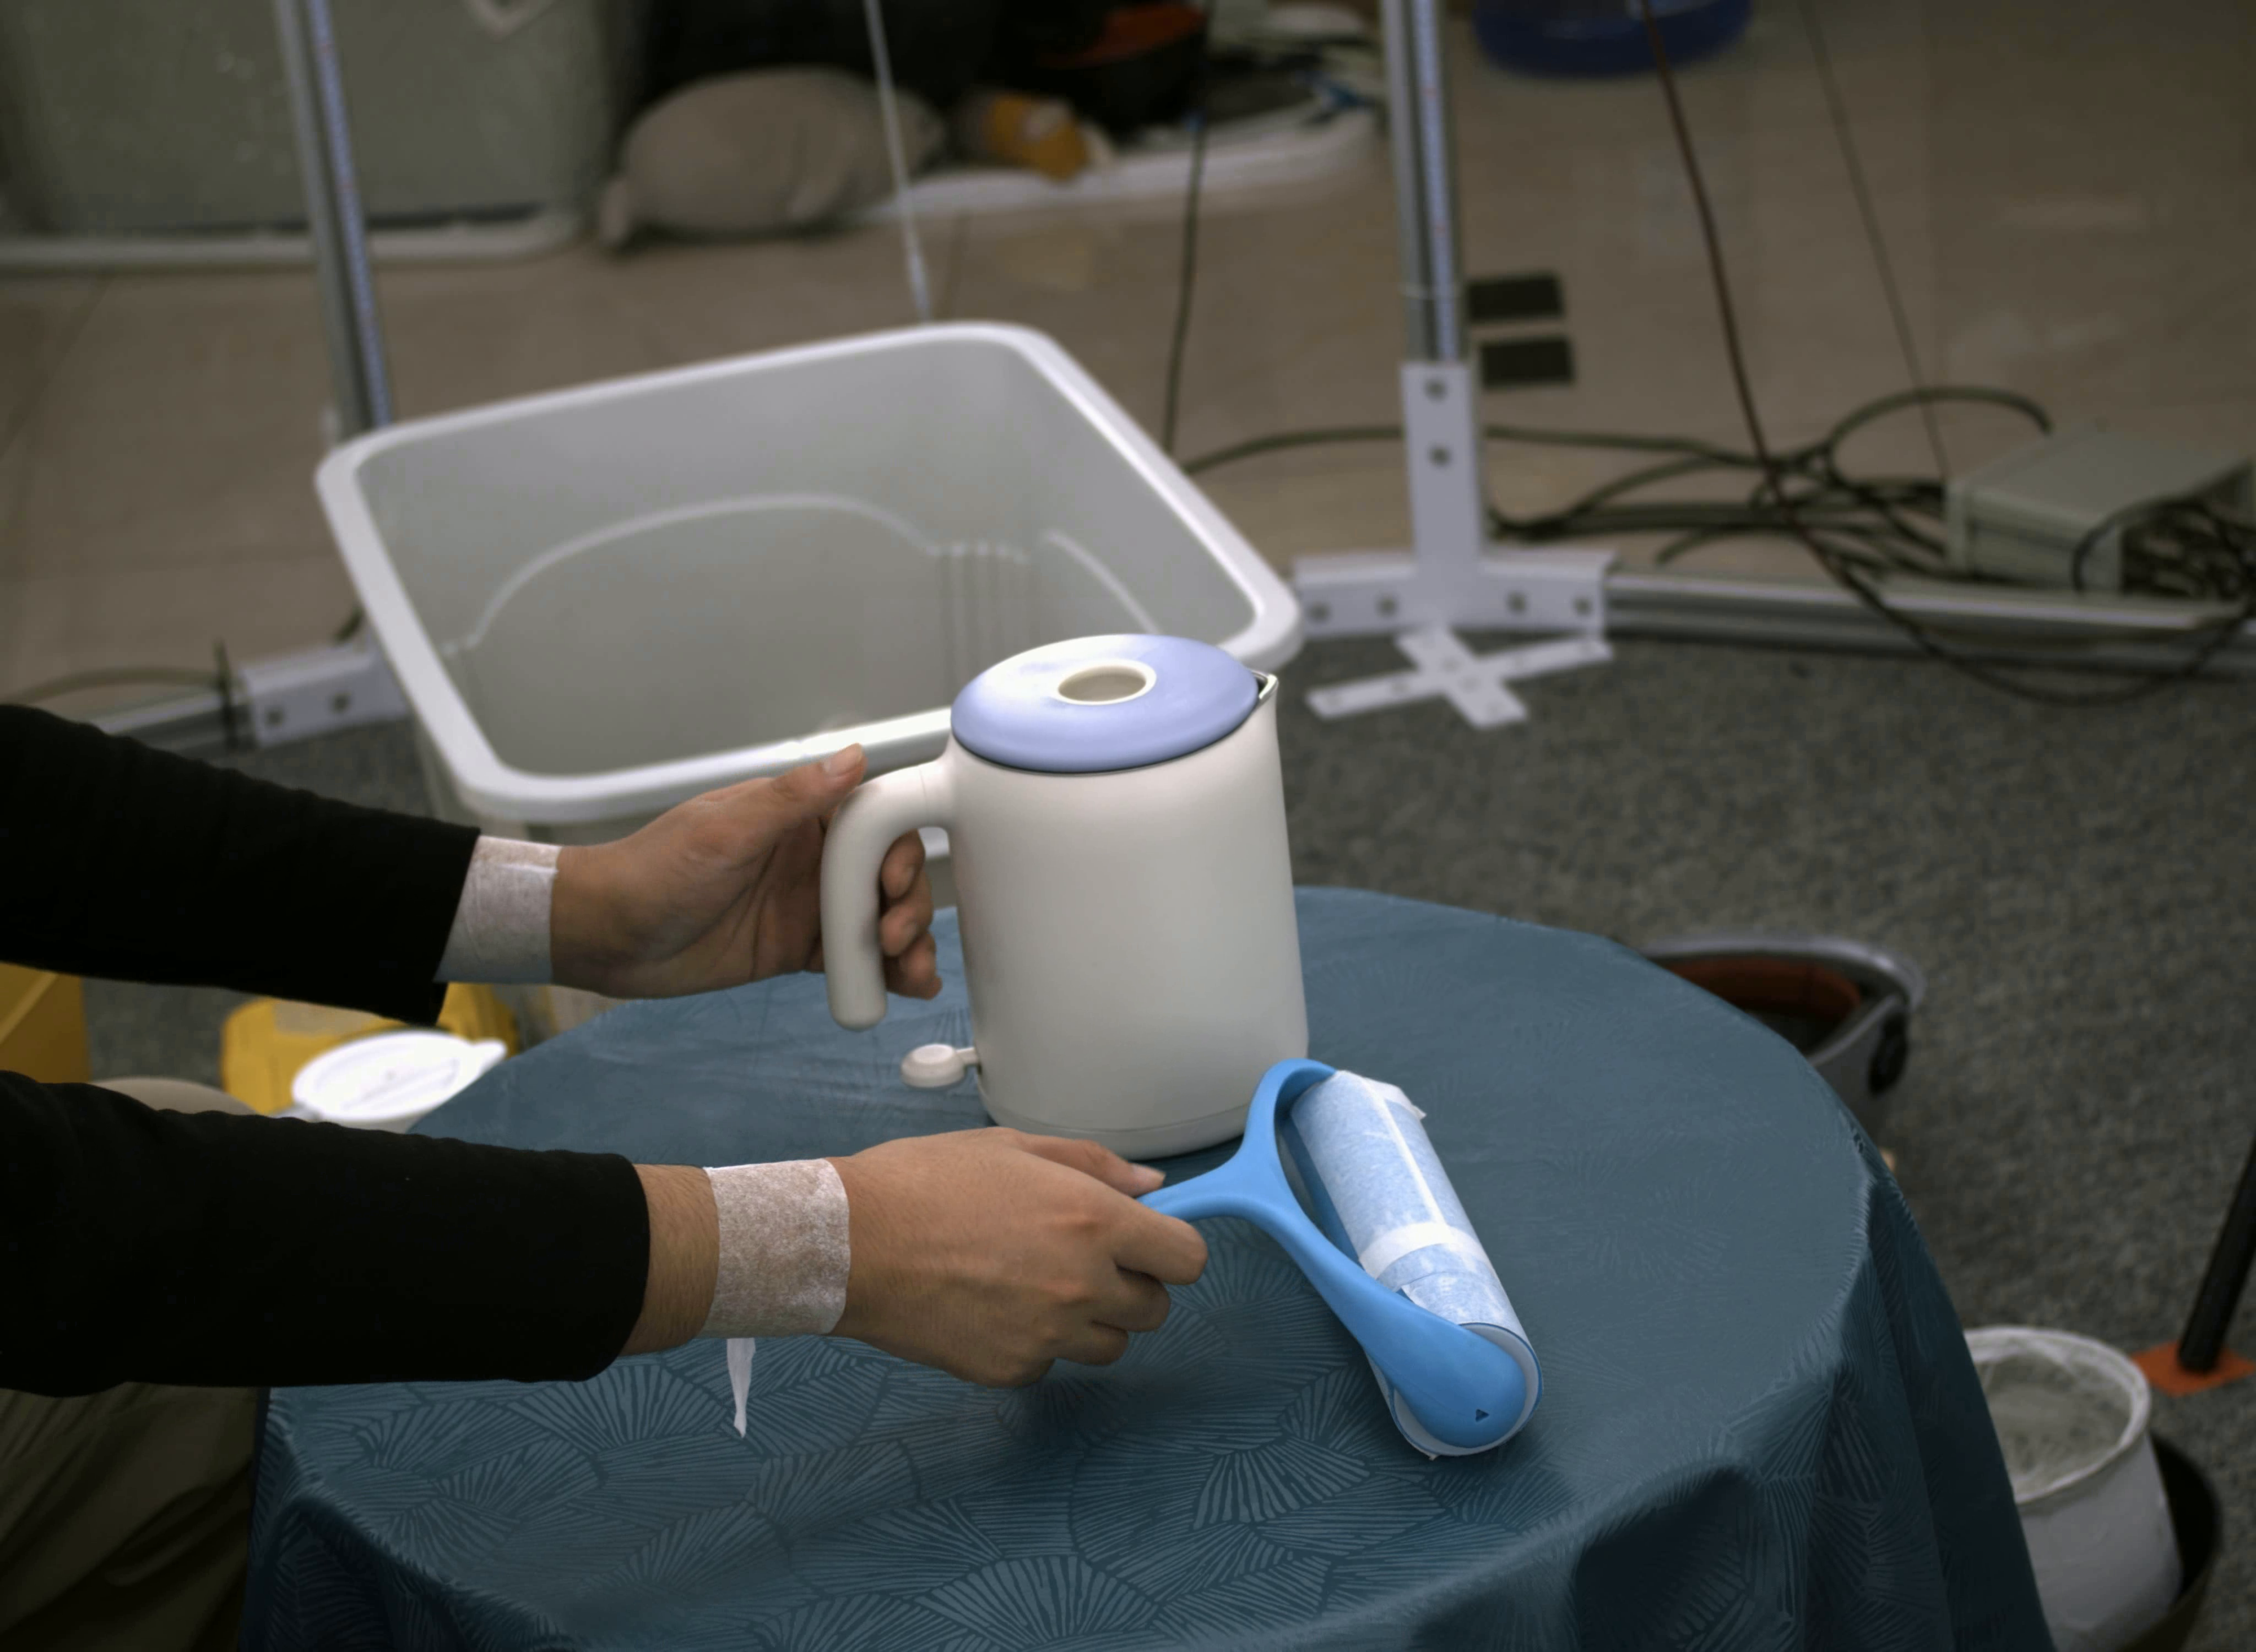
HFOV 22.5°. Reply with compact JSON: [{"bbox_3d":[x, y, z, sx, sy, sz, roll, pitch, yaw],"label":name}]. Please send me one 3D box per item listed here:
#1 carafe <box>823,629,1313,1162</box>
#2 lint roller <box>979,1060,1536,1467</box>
[{"bbox_3d":[-0.024,0.031,2.179,0.190,0.185,0.130,-13,26,-9],"label":"carafe"},{"bbox_3d":[0.040,0.153,2.013,0.180,0.069,0.225,3,26,-15],"label":"lint roller"}]
